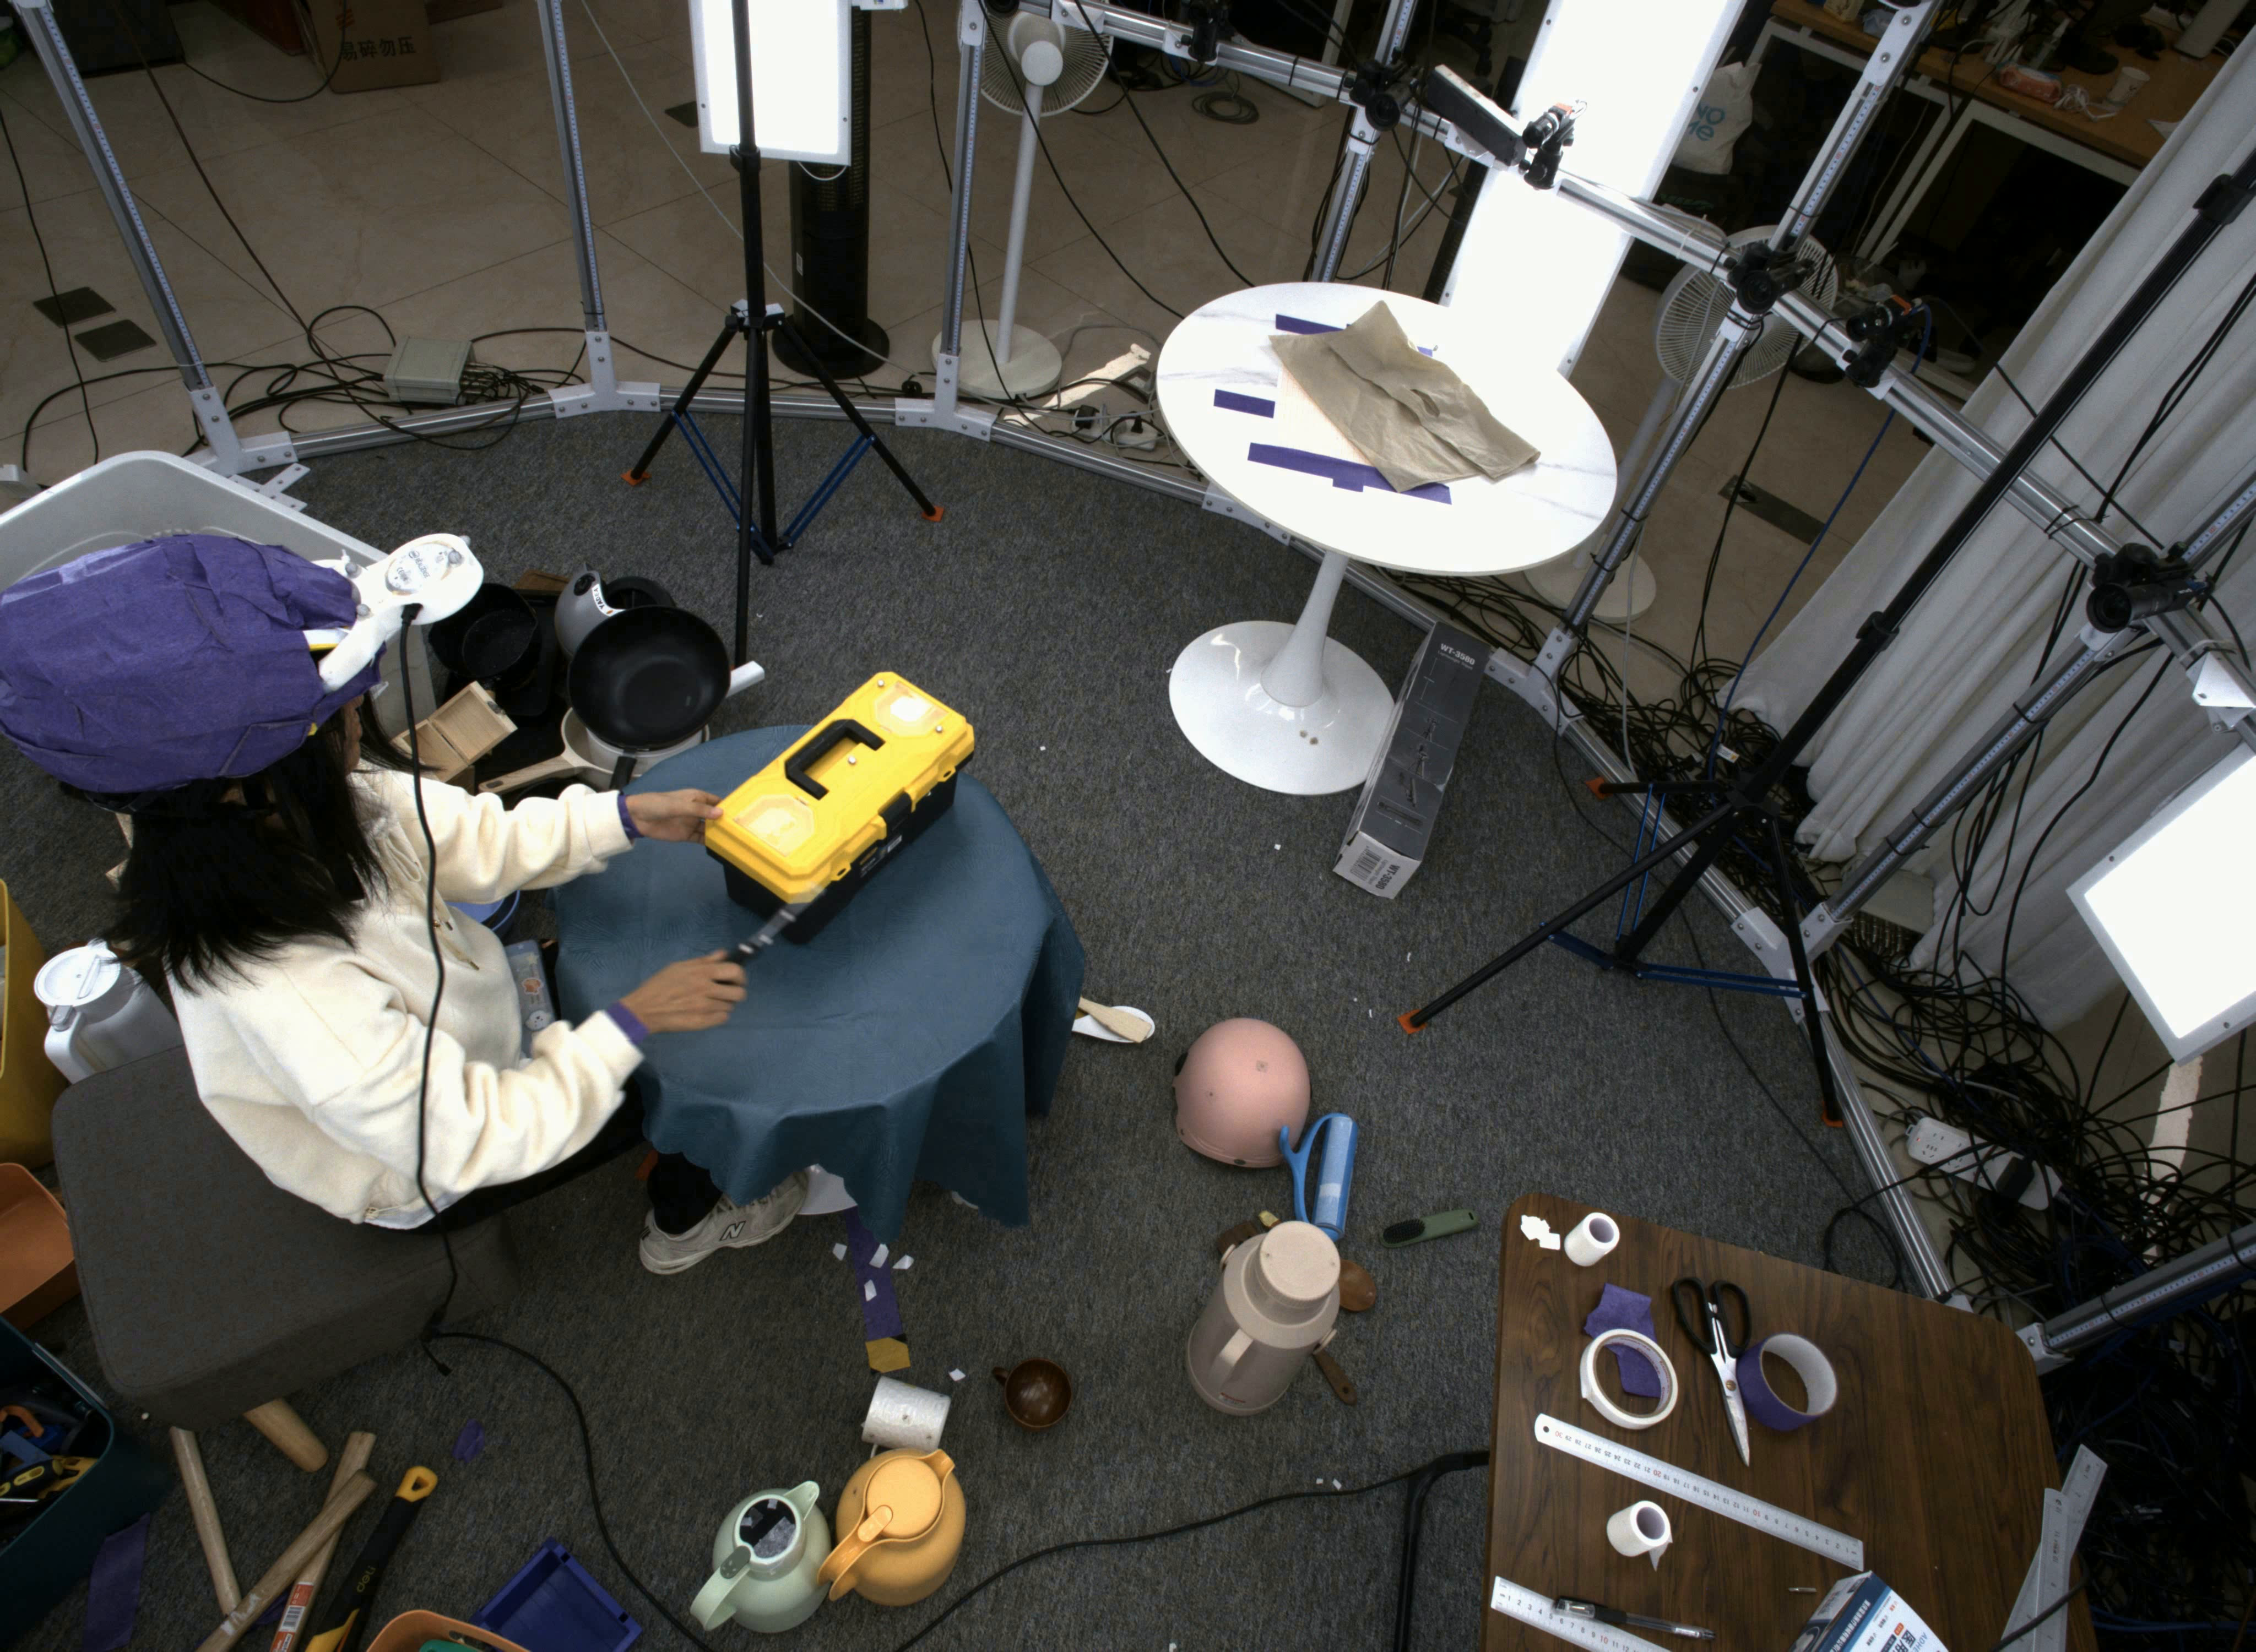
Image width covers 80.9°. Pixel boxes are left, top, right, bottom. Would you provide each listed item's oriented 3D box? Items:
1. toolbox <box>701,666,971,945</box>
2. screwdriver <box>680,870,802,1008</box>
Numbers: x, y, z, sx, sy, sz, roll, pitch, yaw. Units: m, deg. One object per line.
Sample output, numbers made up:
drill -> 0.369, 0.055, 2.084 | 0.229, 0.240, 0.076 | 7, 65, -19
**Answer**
toolbox -> -0.361, -0.027, 1.644 | 0.178, 0.176, 0.351 | 32, 52, 12
screwdriver -> -0.420, 0.121, 1.411 | 0.196, 0.032, 0.030 | -46, 67, 5
